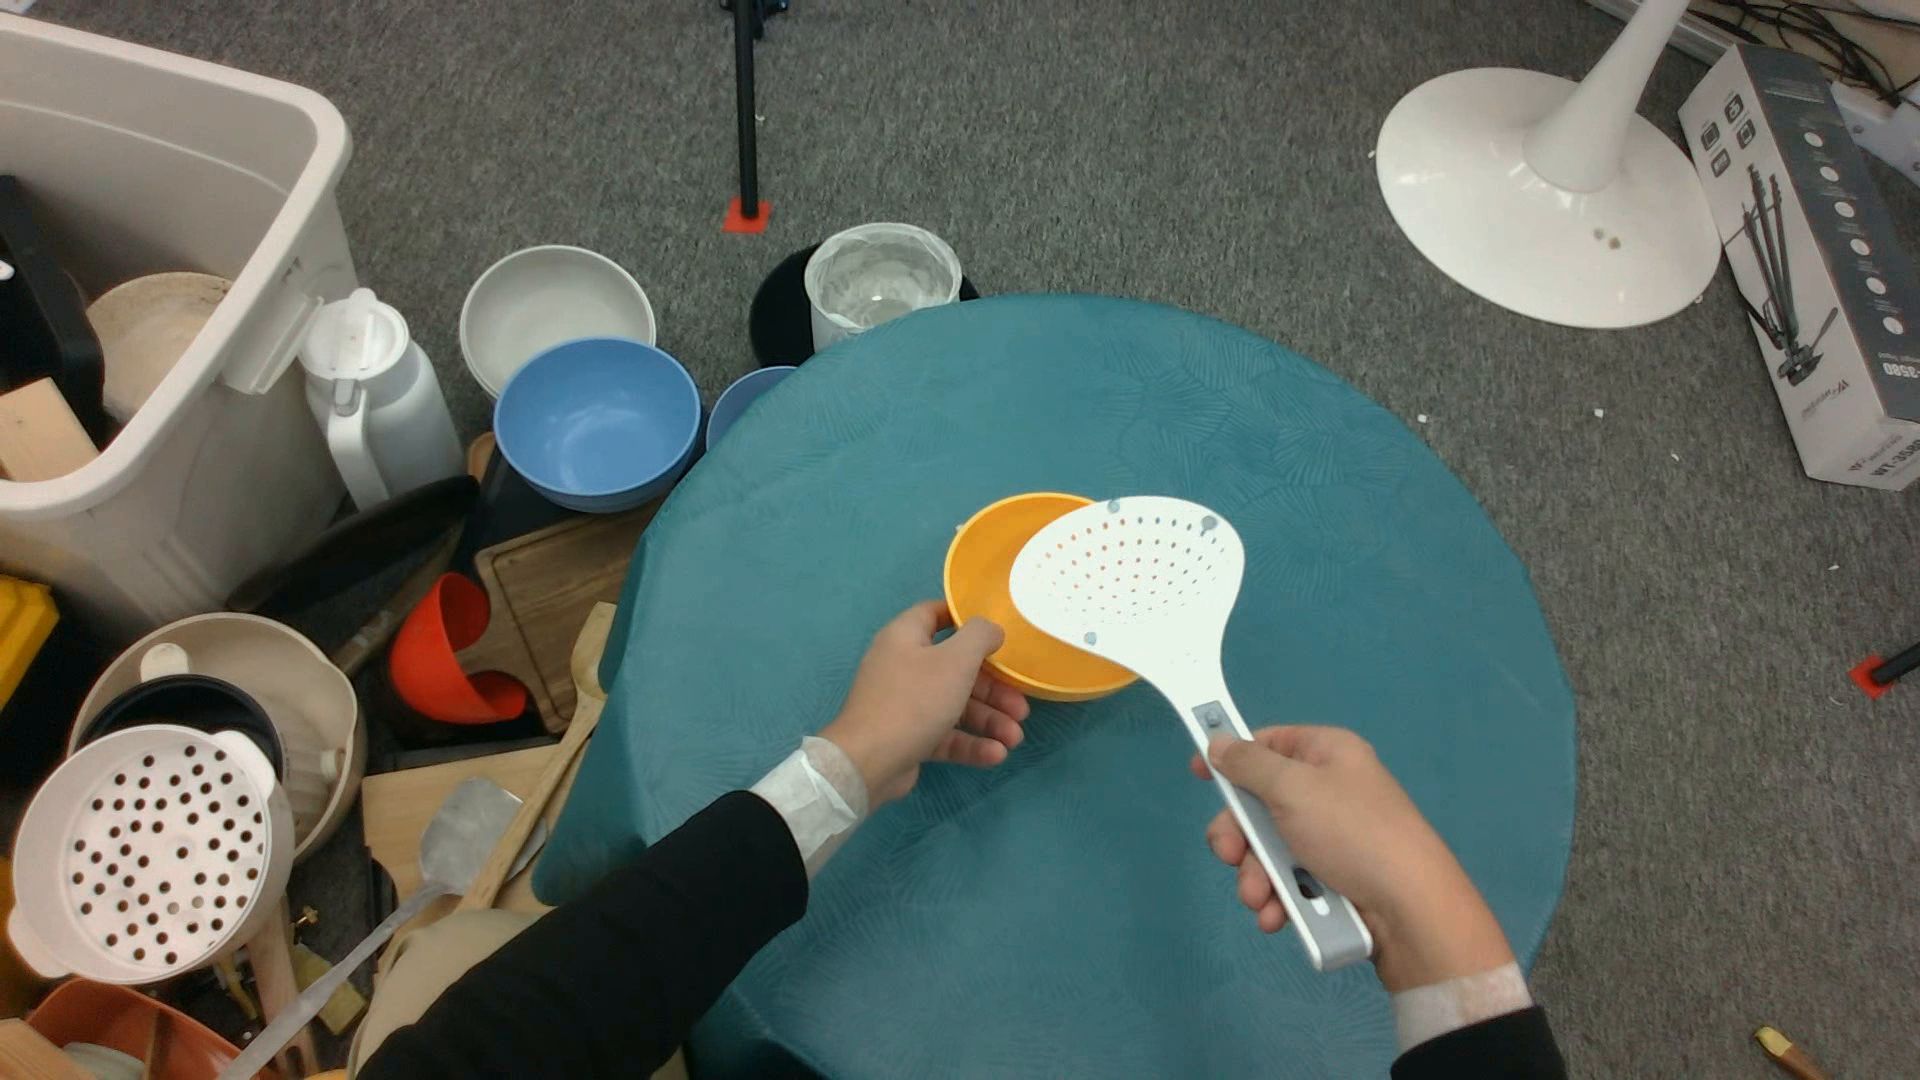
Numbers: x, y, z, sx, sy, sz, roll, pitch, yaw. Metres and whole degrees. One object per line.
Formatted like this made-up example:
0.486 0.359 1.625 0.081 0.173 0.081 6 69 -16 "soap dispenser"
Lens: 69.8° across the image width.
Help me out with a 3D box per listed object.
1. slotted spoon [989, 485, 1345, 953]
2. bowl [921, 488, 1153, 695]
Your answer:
0.110 0.072 0.714 0.136 0.045 0.351 -17 31 -5 "slotted spoon"
0.044 0.041 0.843 0.145 0.060 0.146 5 52 -6 "bowl"
